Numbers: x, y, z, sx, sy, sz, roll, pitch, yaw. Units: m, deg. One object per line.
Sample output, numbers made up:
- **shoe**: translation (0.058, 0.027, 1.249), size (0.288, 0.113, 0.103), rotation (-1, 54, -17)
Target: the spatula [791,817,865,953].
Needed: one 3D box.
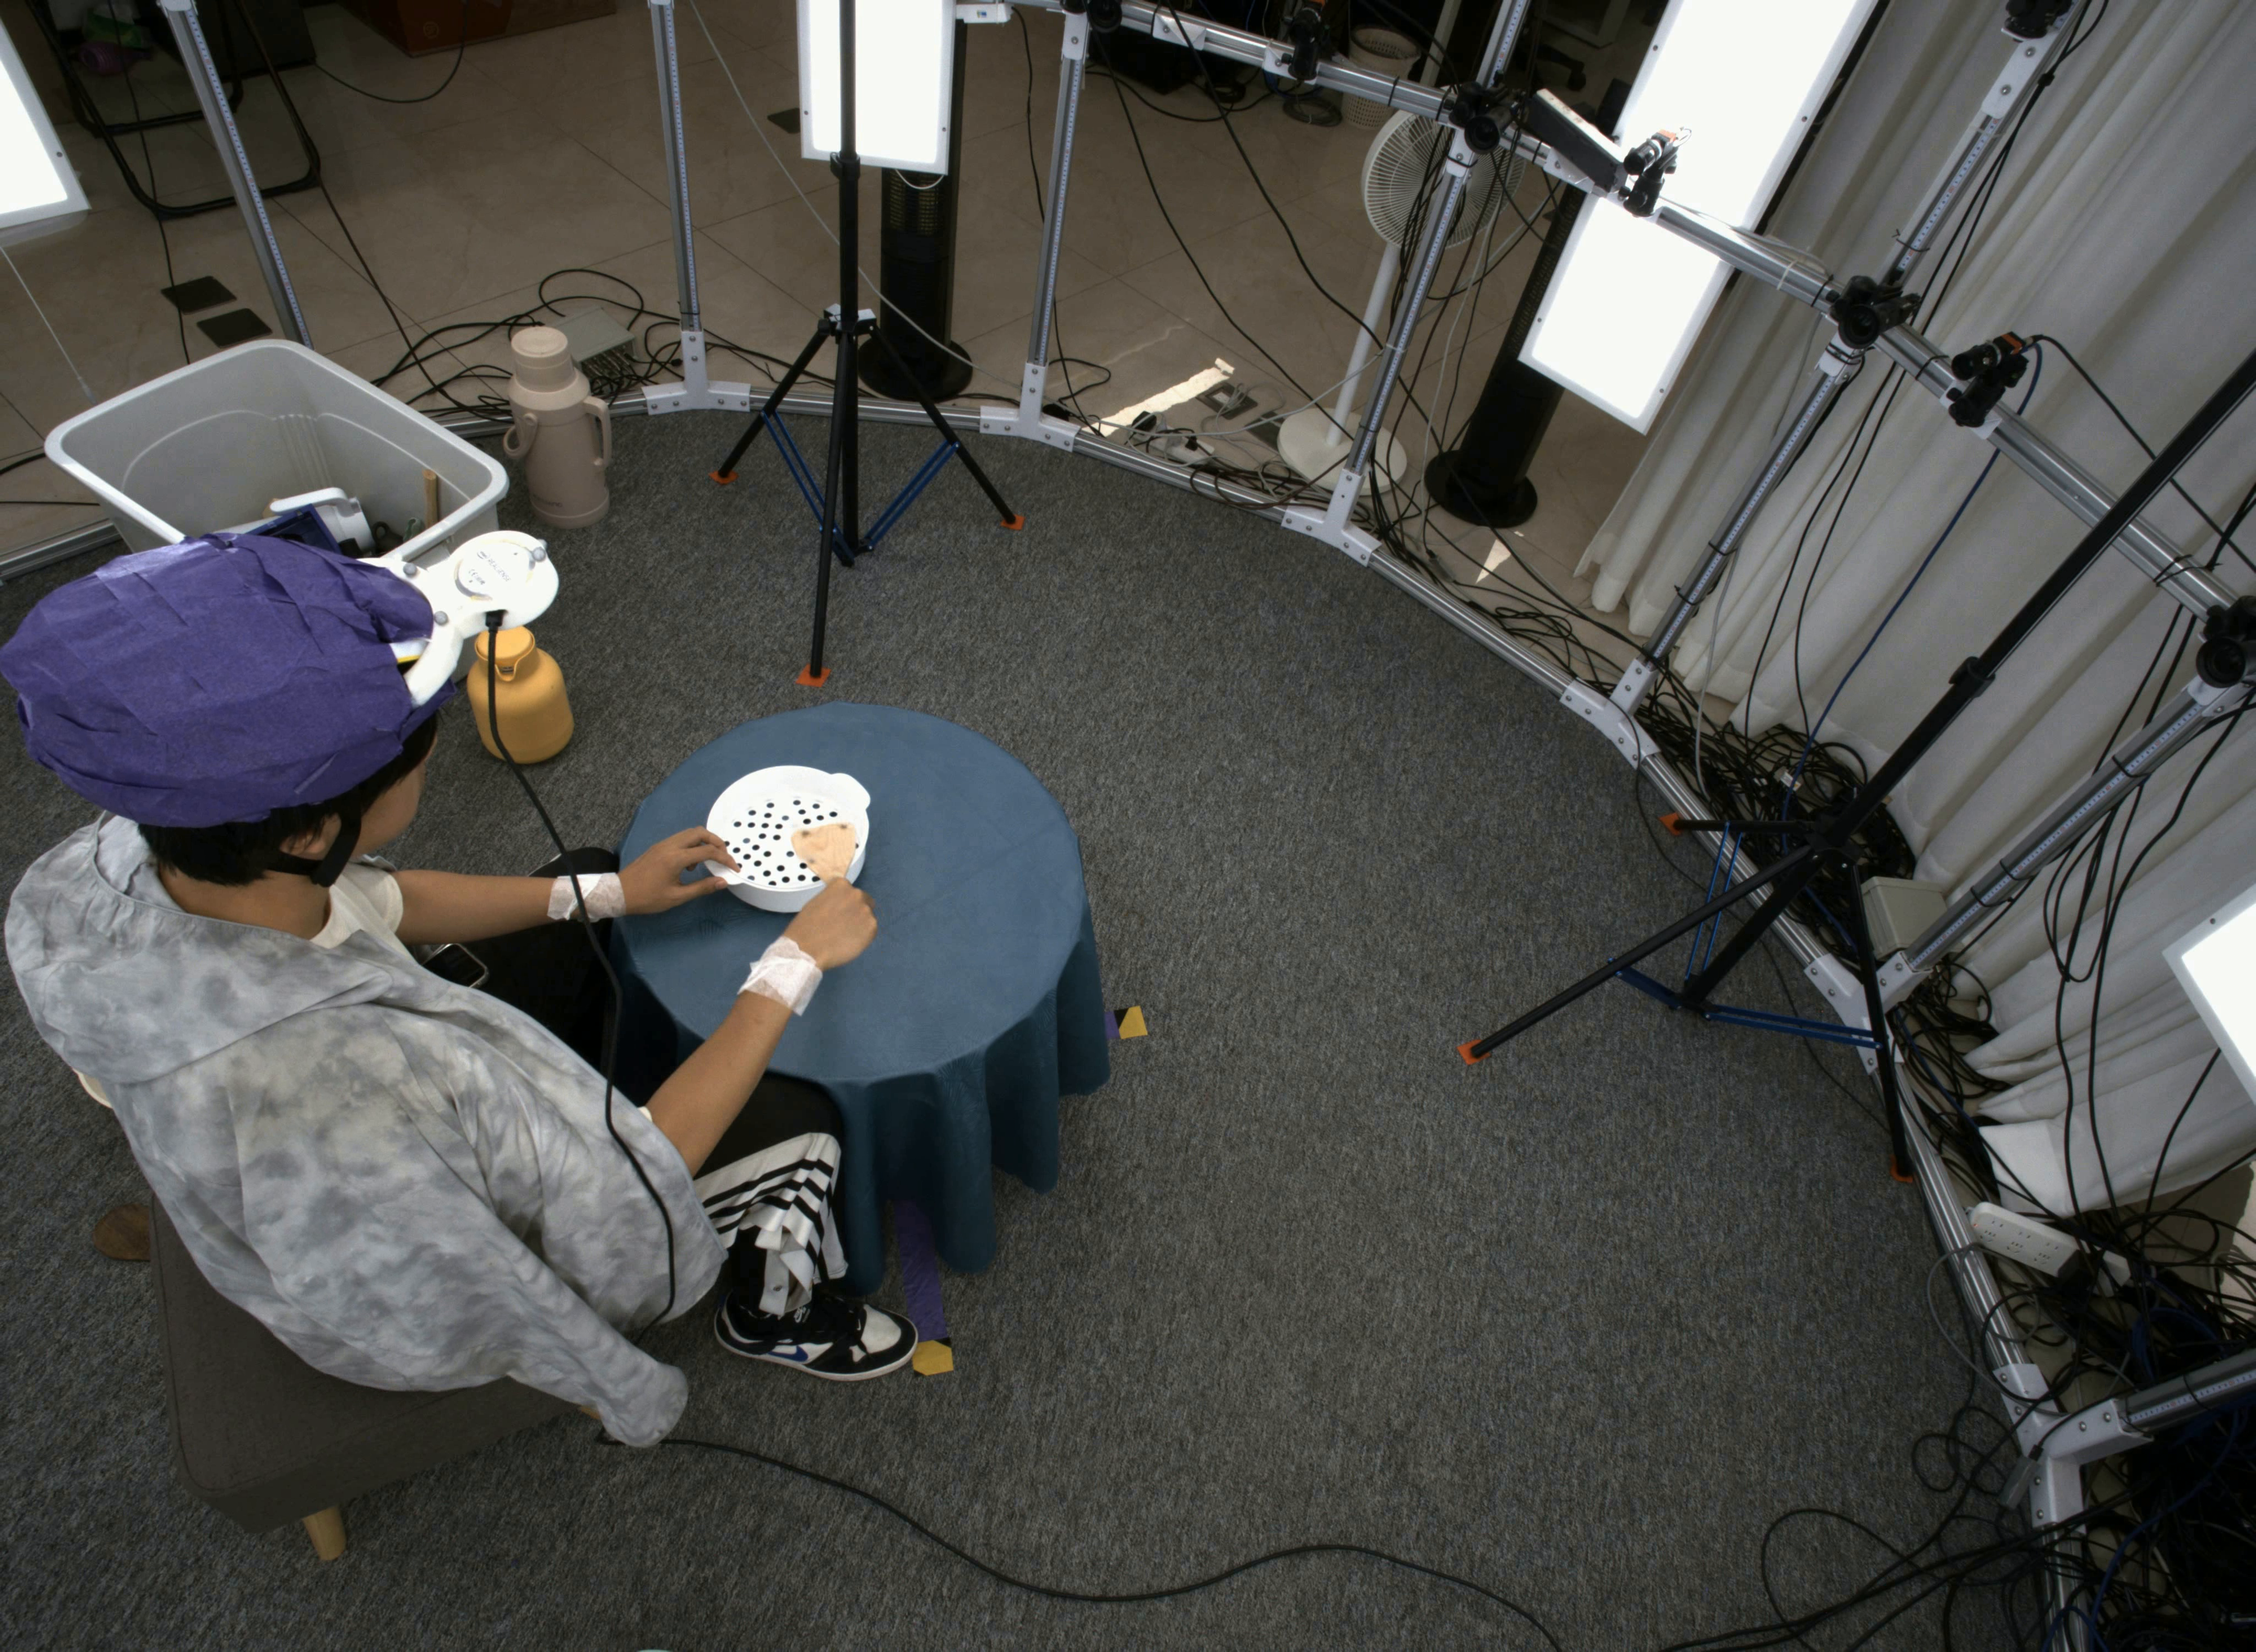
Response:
- **spatula**: translation (-0.337, 0.062, 1.495), size (0.080, 0.017, 0.317), rotation (-7, 26, -16)

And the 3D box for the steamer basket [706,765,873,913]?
- **steamer basket**: translation (-0.431, 0.017, 1.670), size (0.231, 0.071, 0.197), rotation (-35, 67, -31)
